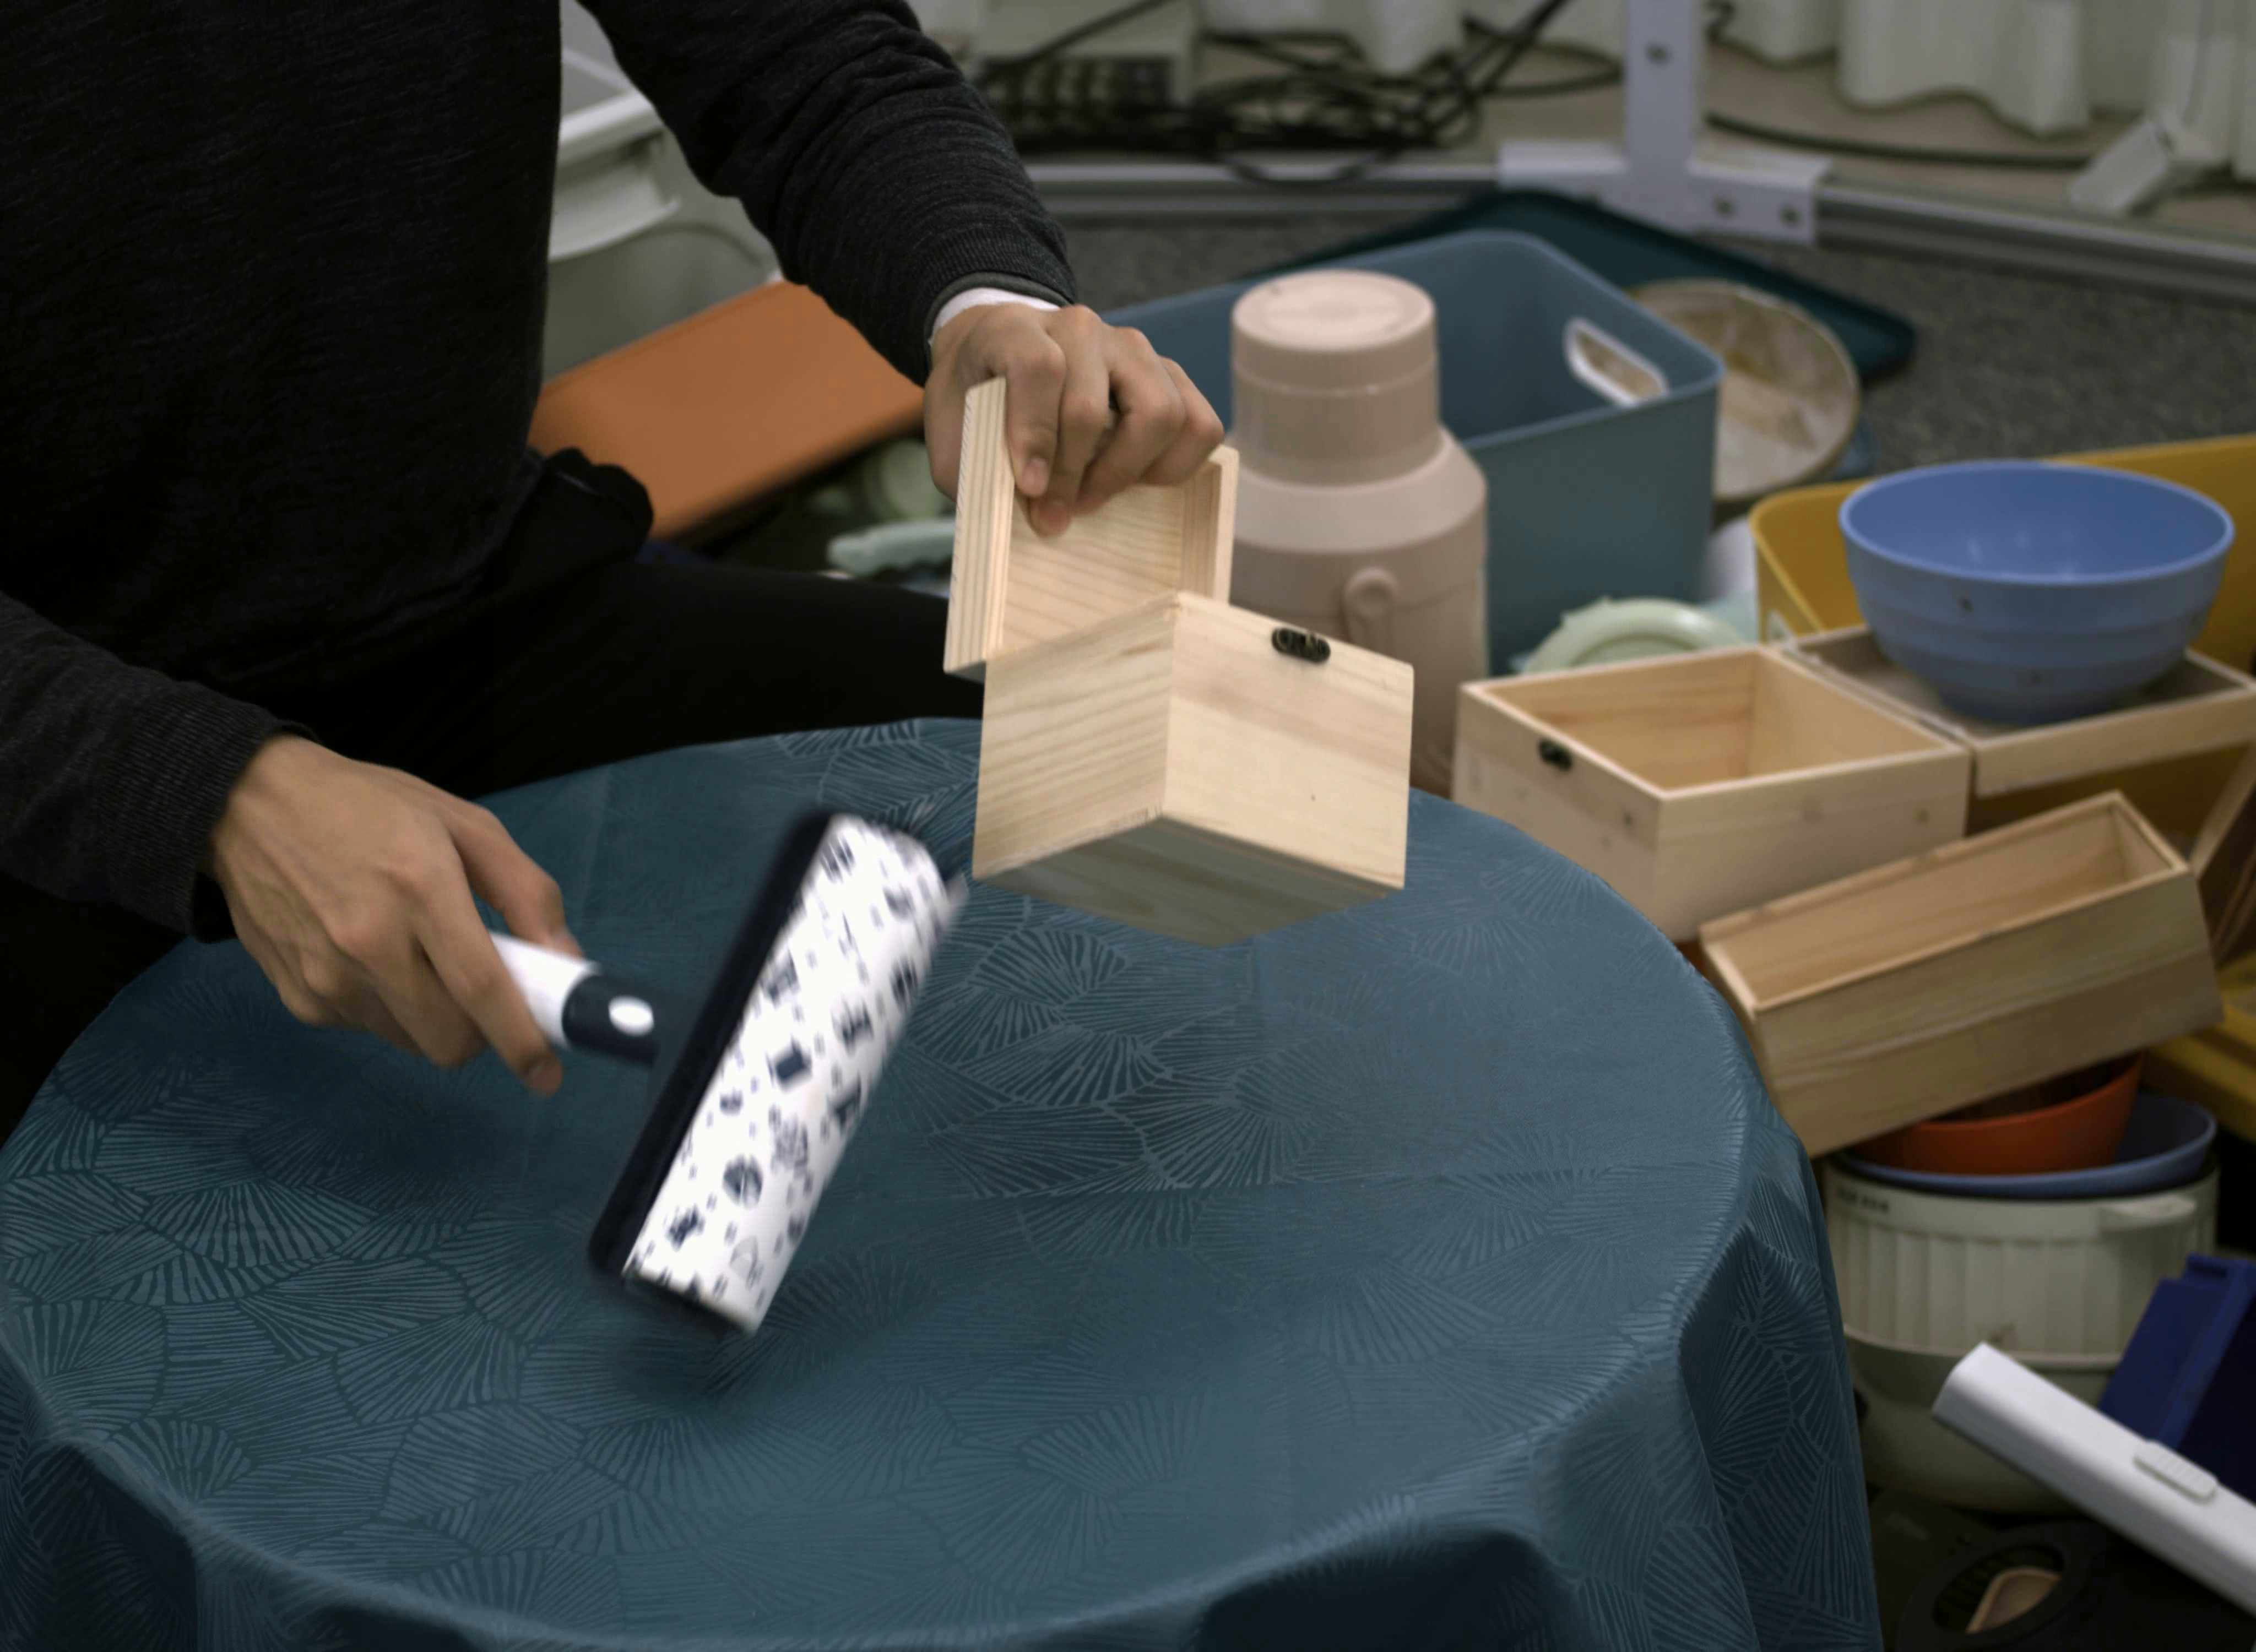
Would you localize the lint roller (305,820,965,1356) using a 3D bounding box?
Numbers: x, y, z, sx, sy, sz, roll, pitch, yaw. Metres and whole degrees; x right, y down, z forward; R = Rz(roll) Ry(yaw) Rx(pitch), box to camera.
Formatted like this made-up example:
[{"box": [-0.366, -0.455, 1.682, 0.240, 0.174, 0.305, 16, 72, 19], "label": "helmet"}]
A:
[{"box": [-0.185, 0.062, 1.836, 0.246, 0.050, 0.178, 16, 71, 35], "label": "lint roller"}]

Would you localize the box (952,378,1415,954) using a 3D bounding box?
[{"box": [0.020, -0.064, 1.861, 0.102, 0.187, 0.132, 18, -25, -34], "label": "box"}]
